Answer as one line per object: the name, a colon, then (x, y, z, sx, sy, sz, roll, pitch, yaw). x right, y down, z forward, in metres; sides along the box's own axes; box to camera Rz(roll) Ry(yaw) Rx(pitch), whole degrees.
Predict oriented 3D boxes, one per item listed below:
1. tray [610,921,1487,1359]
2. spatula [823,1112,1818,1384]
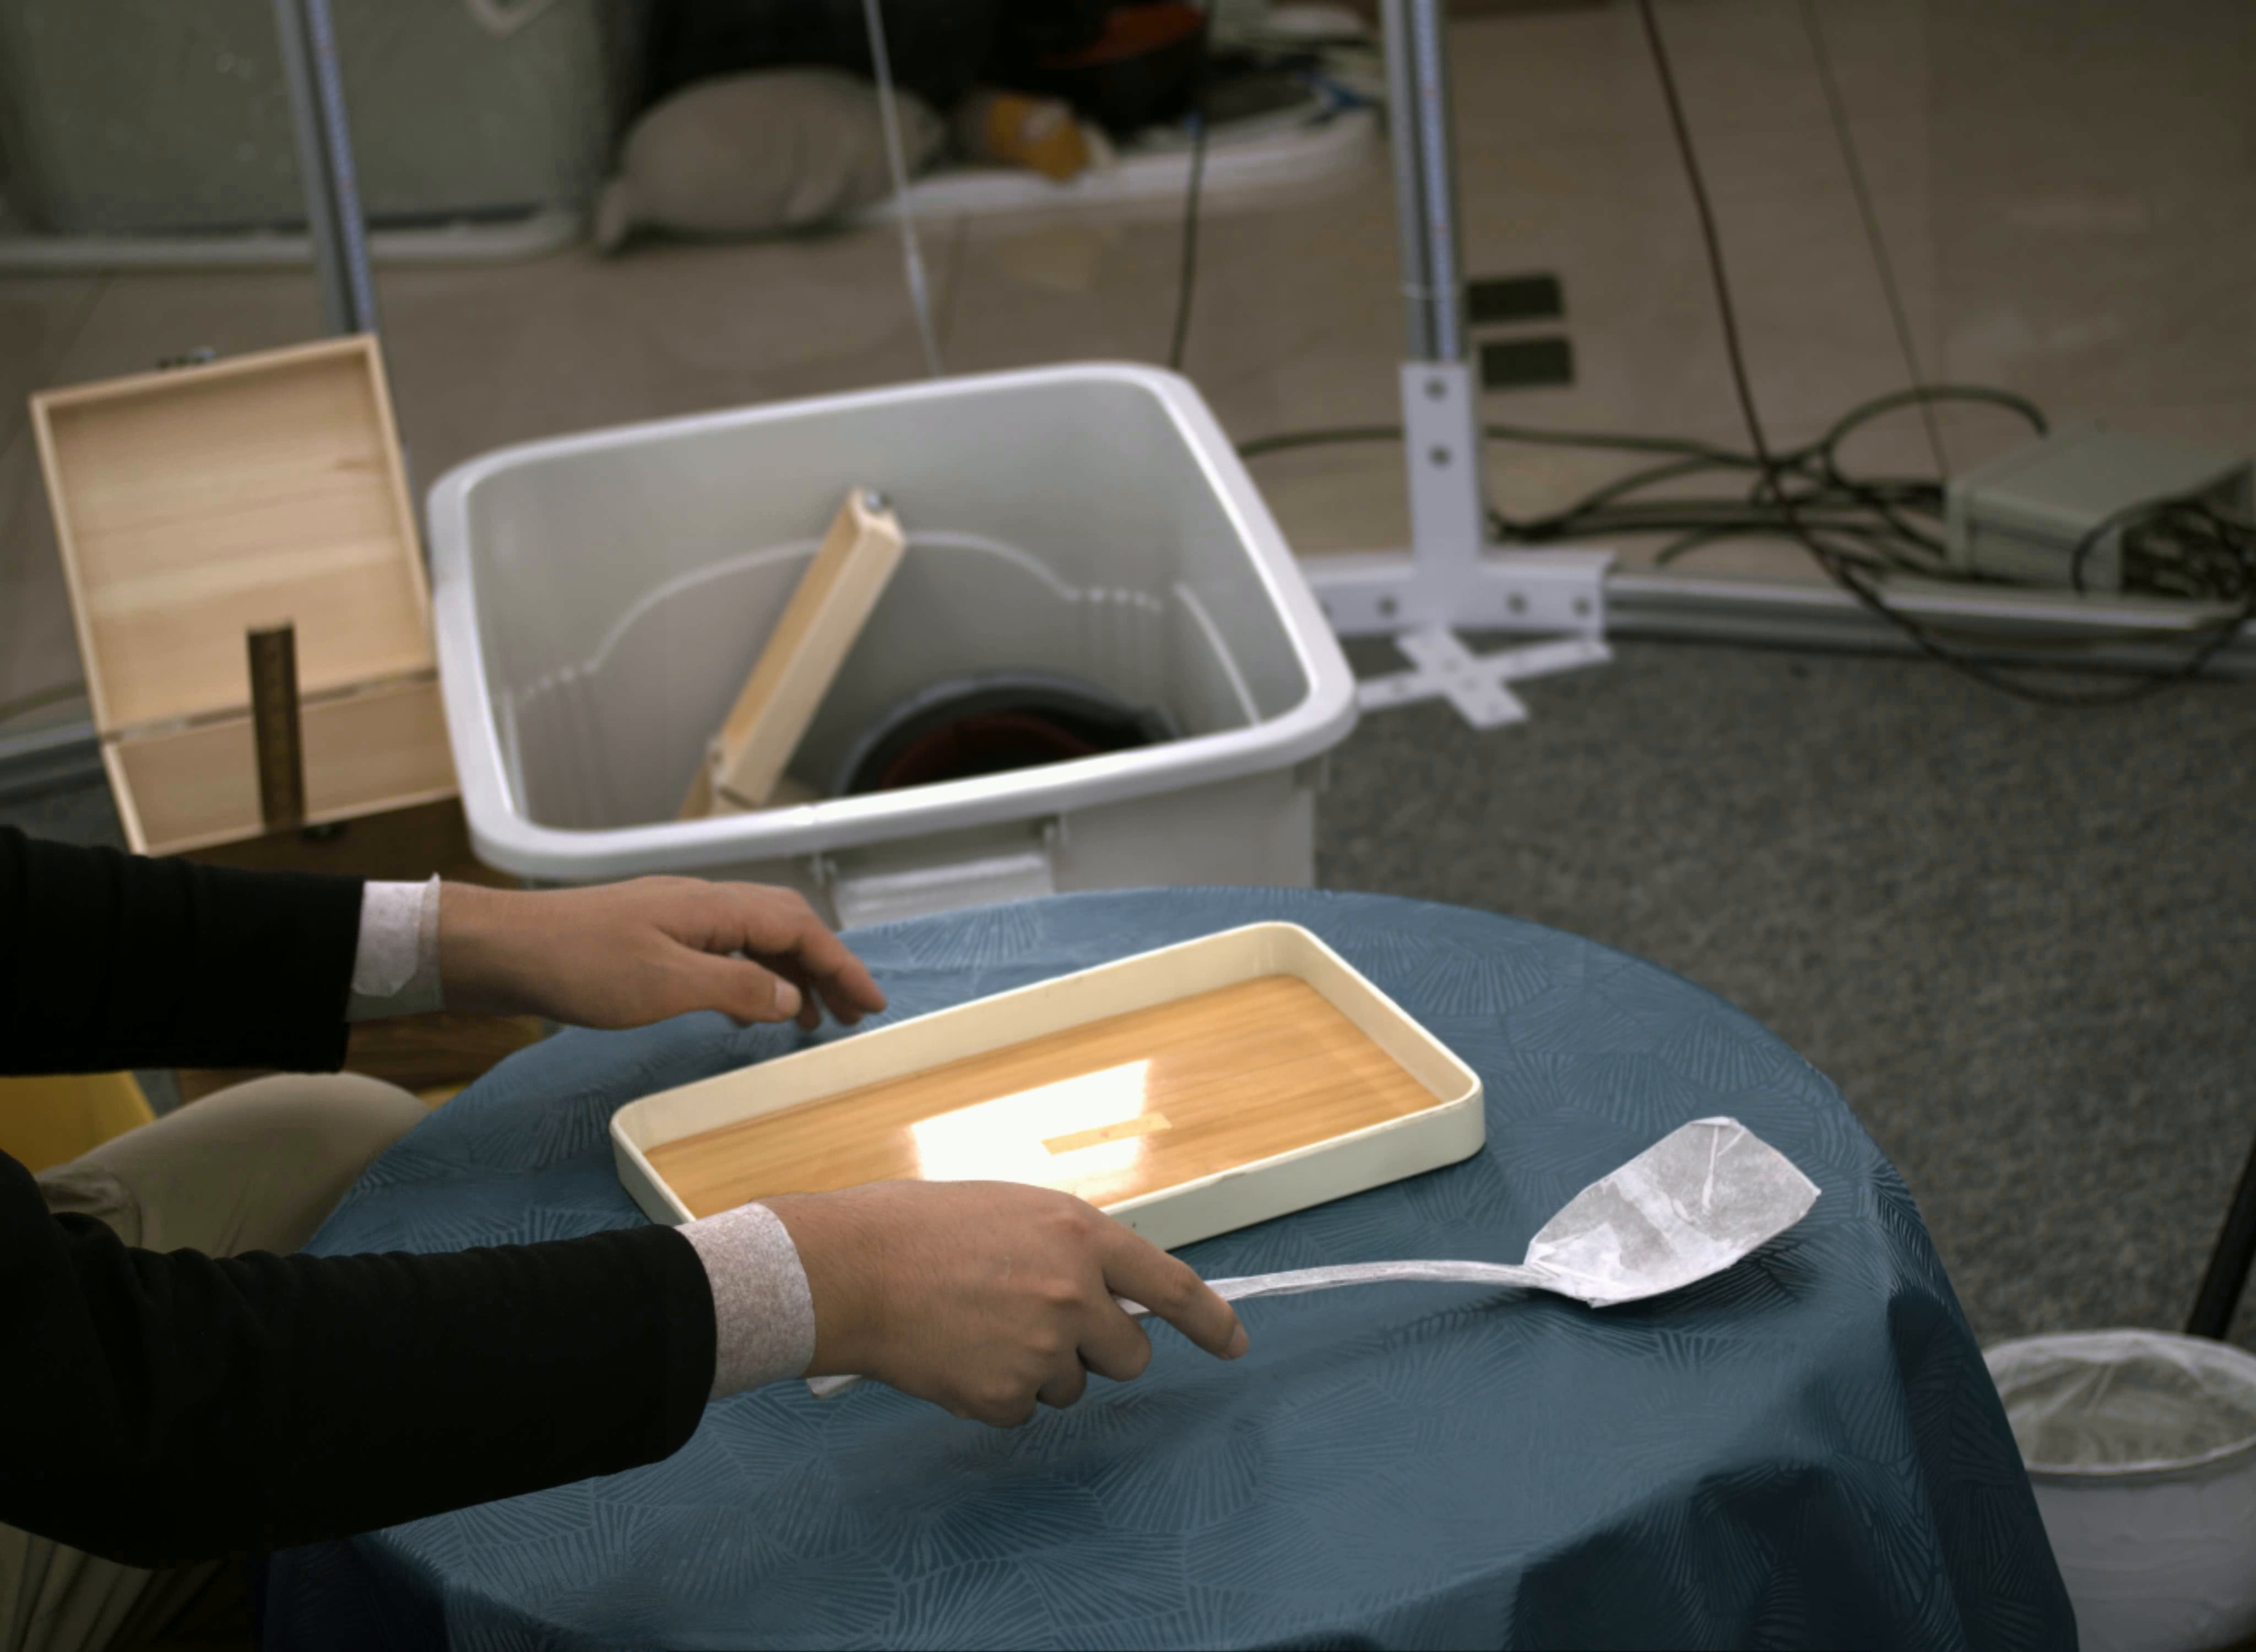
tray: (-0.032, 0.116, 2.172, 0.299, 0.028, 0.189, -15, 26, -18)
spatula: (0.069, 0.156, 2.017, 0.364, 0.045, 0.097, -6, 22, -17)
